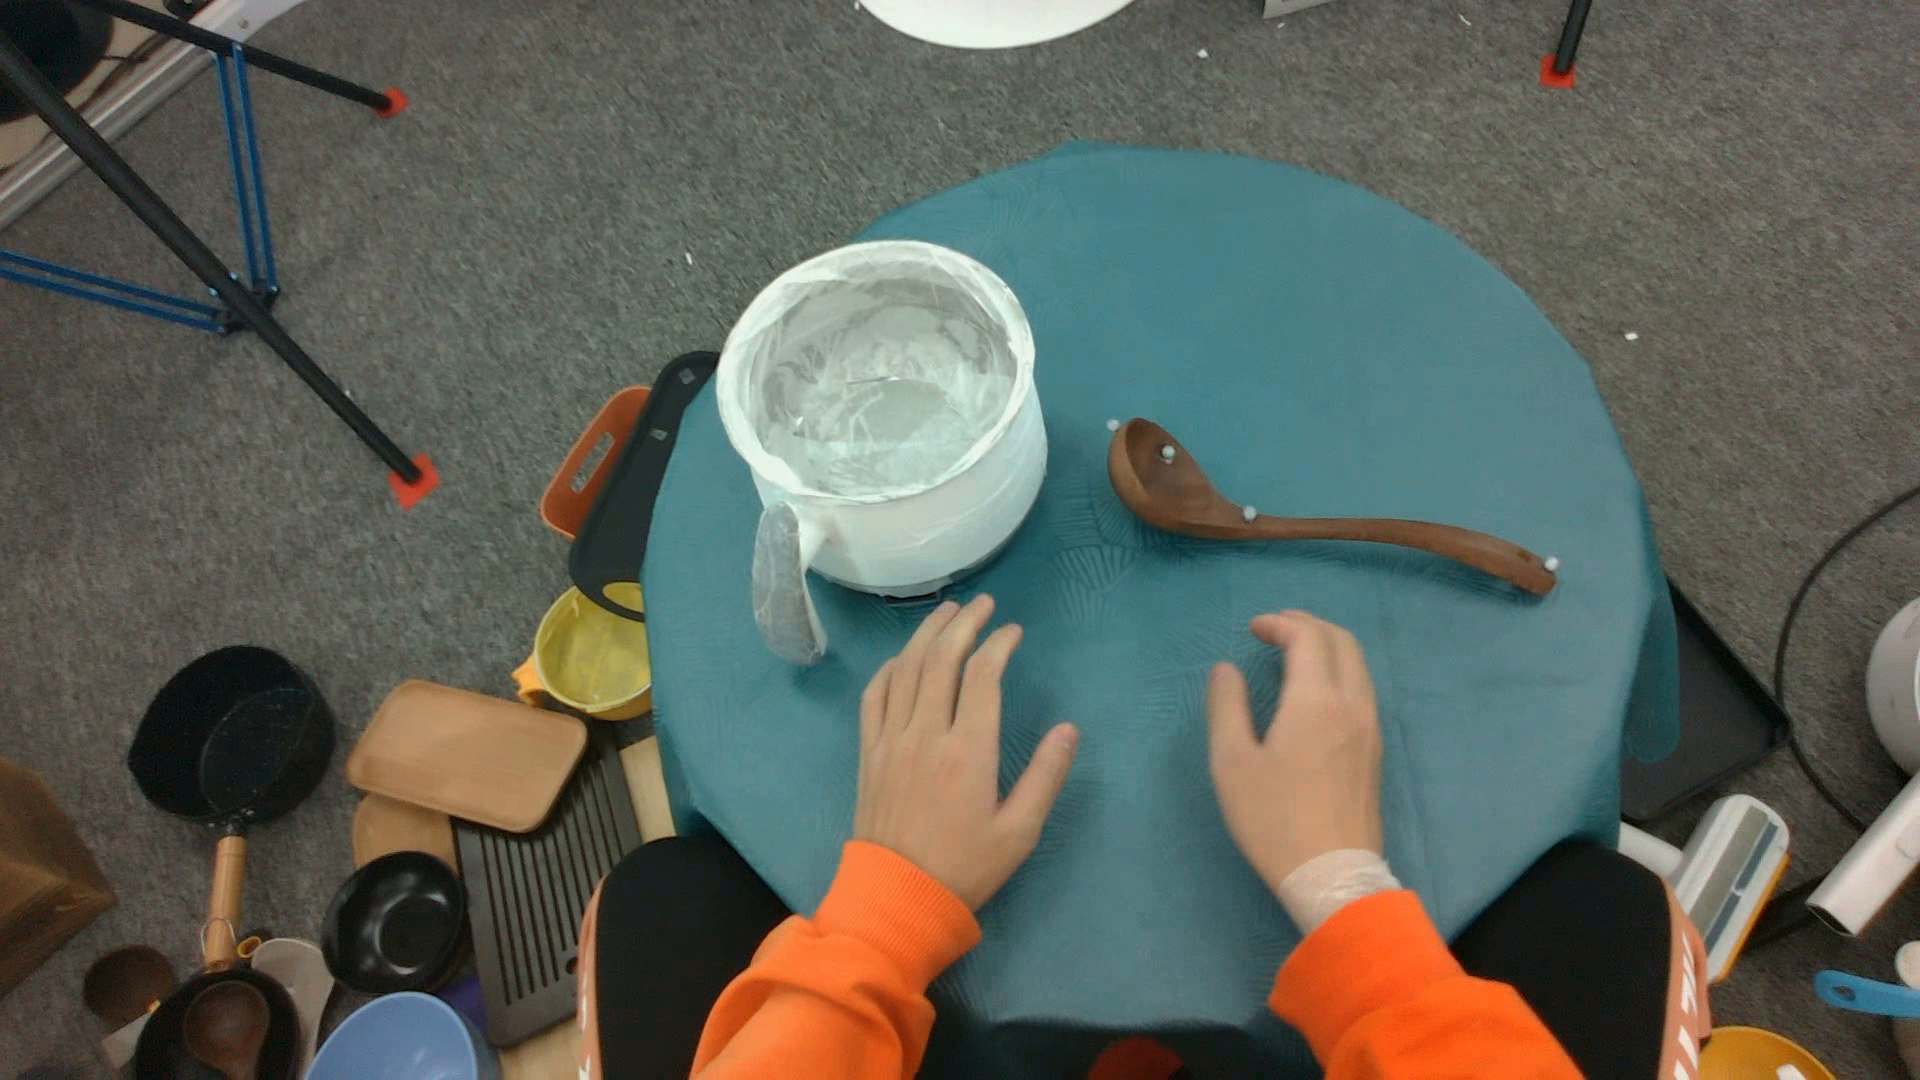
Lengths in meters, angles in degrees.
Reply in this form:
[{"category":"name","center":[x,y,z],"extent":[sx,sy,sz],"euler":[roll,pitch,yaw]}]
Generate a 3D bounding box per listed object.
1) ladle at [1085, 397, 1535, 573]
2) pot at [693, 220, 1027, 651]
[{"category":"ladle","center":[0.199,-0.030,0.791],"extent":[0.260,0.065,0.077],"euler":[10,43,13]},{"category":"pot","center":[-0.063,-0.054,0.795],"extent":[0.178,0.136,0.234],"euler":[19,66,17]}]
